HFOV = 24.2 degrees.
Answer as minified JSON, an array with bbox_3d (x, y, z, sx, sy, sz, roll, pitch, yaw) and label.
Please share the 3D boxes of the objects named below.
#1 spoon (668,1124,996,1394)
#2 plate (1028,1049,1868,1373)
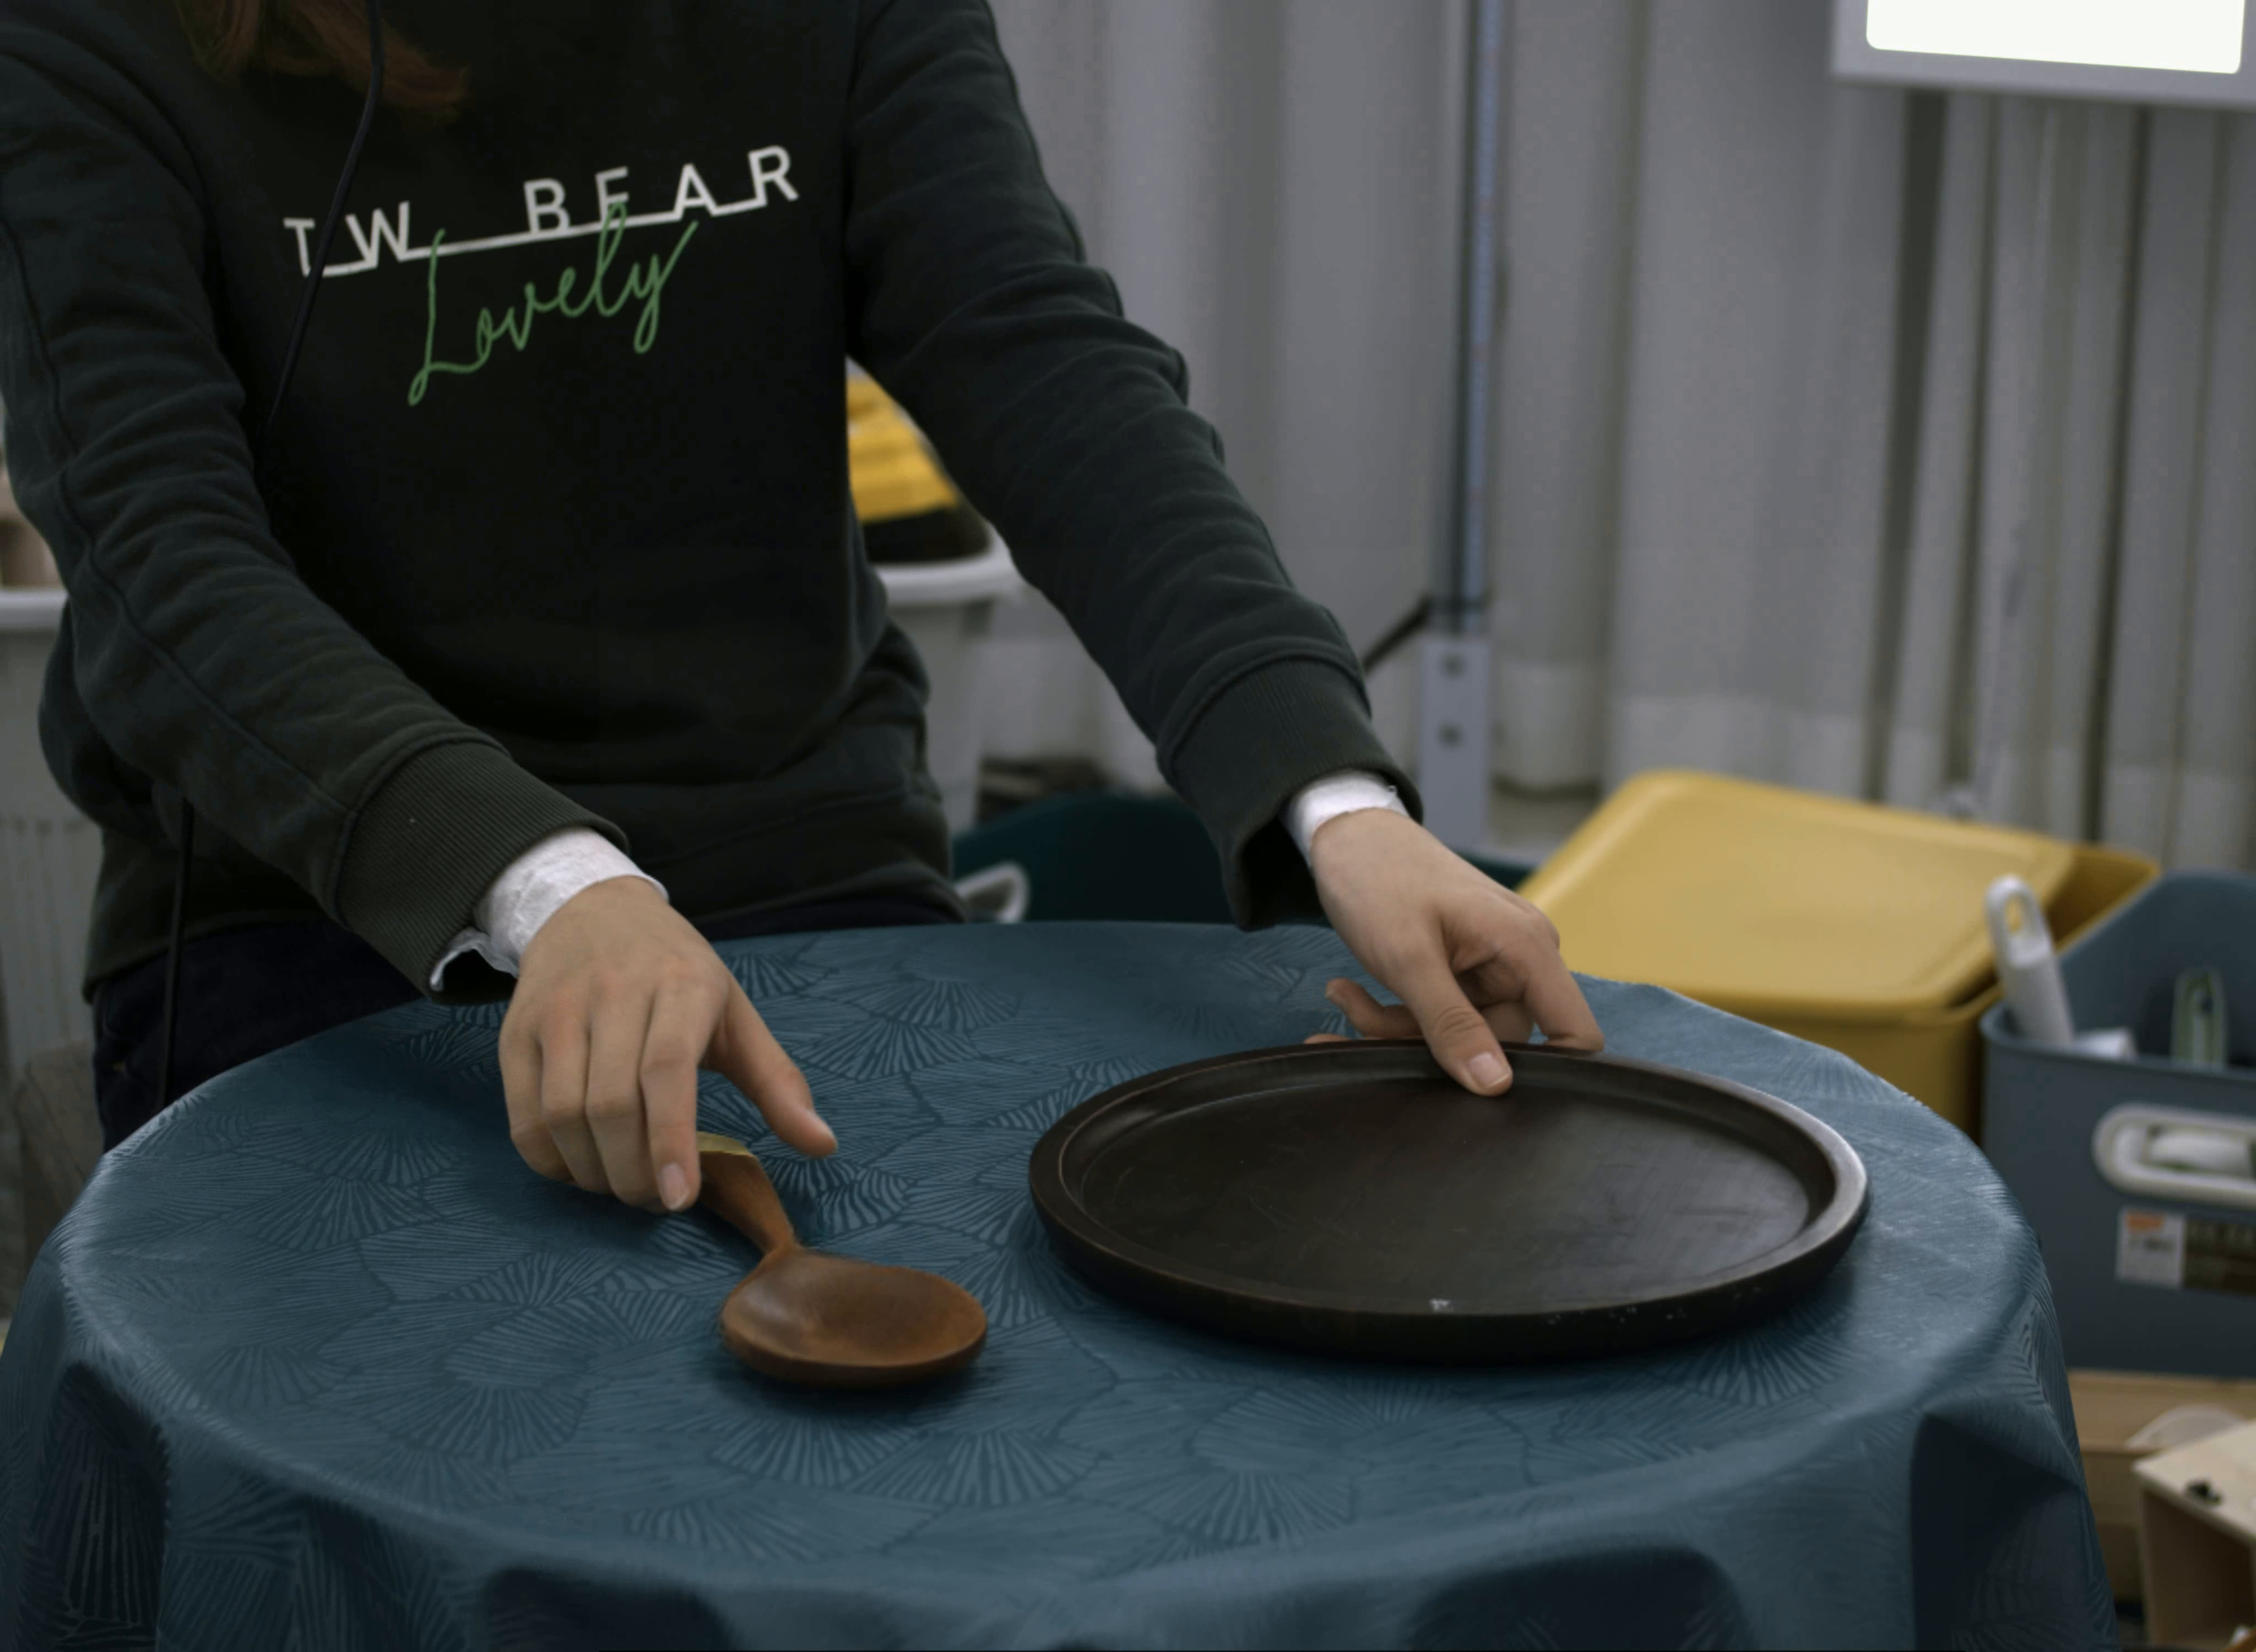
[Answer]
[{"bbox_3d":[-0.097,0.127,1.540,0.075,0.017,0.213,-5,17,-19],"label":"spoon"},{"bbox_3d":[0.096,0.113,1.590,0.254,0.029,0.253,2,17,0],"label":"plate"}]
